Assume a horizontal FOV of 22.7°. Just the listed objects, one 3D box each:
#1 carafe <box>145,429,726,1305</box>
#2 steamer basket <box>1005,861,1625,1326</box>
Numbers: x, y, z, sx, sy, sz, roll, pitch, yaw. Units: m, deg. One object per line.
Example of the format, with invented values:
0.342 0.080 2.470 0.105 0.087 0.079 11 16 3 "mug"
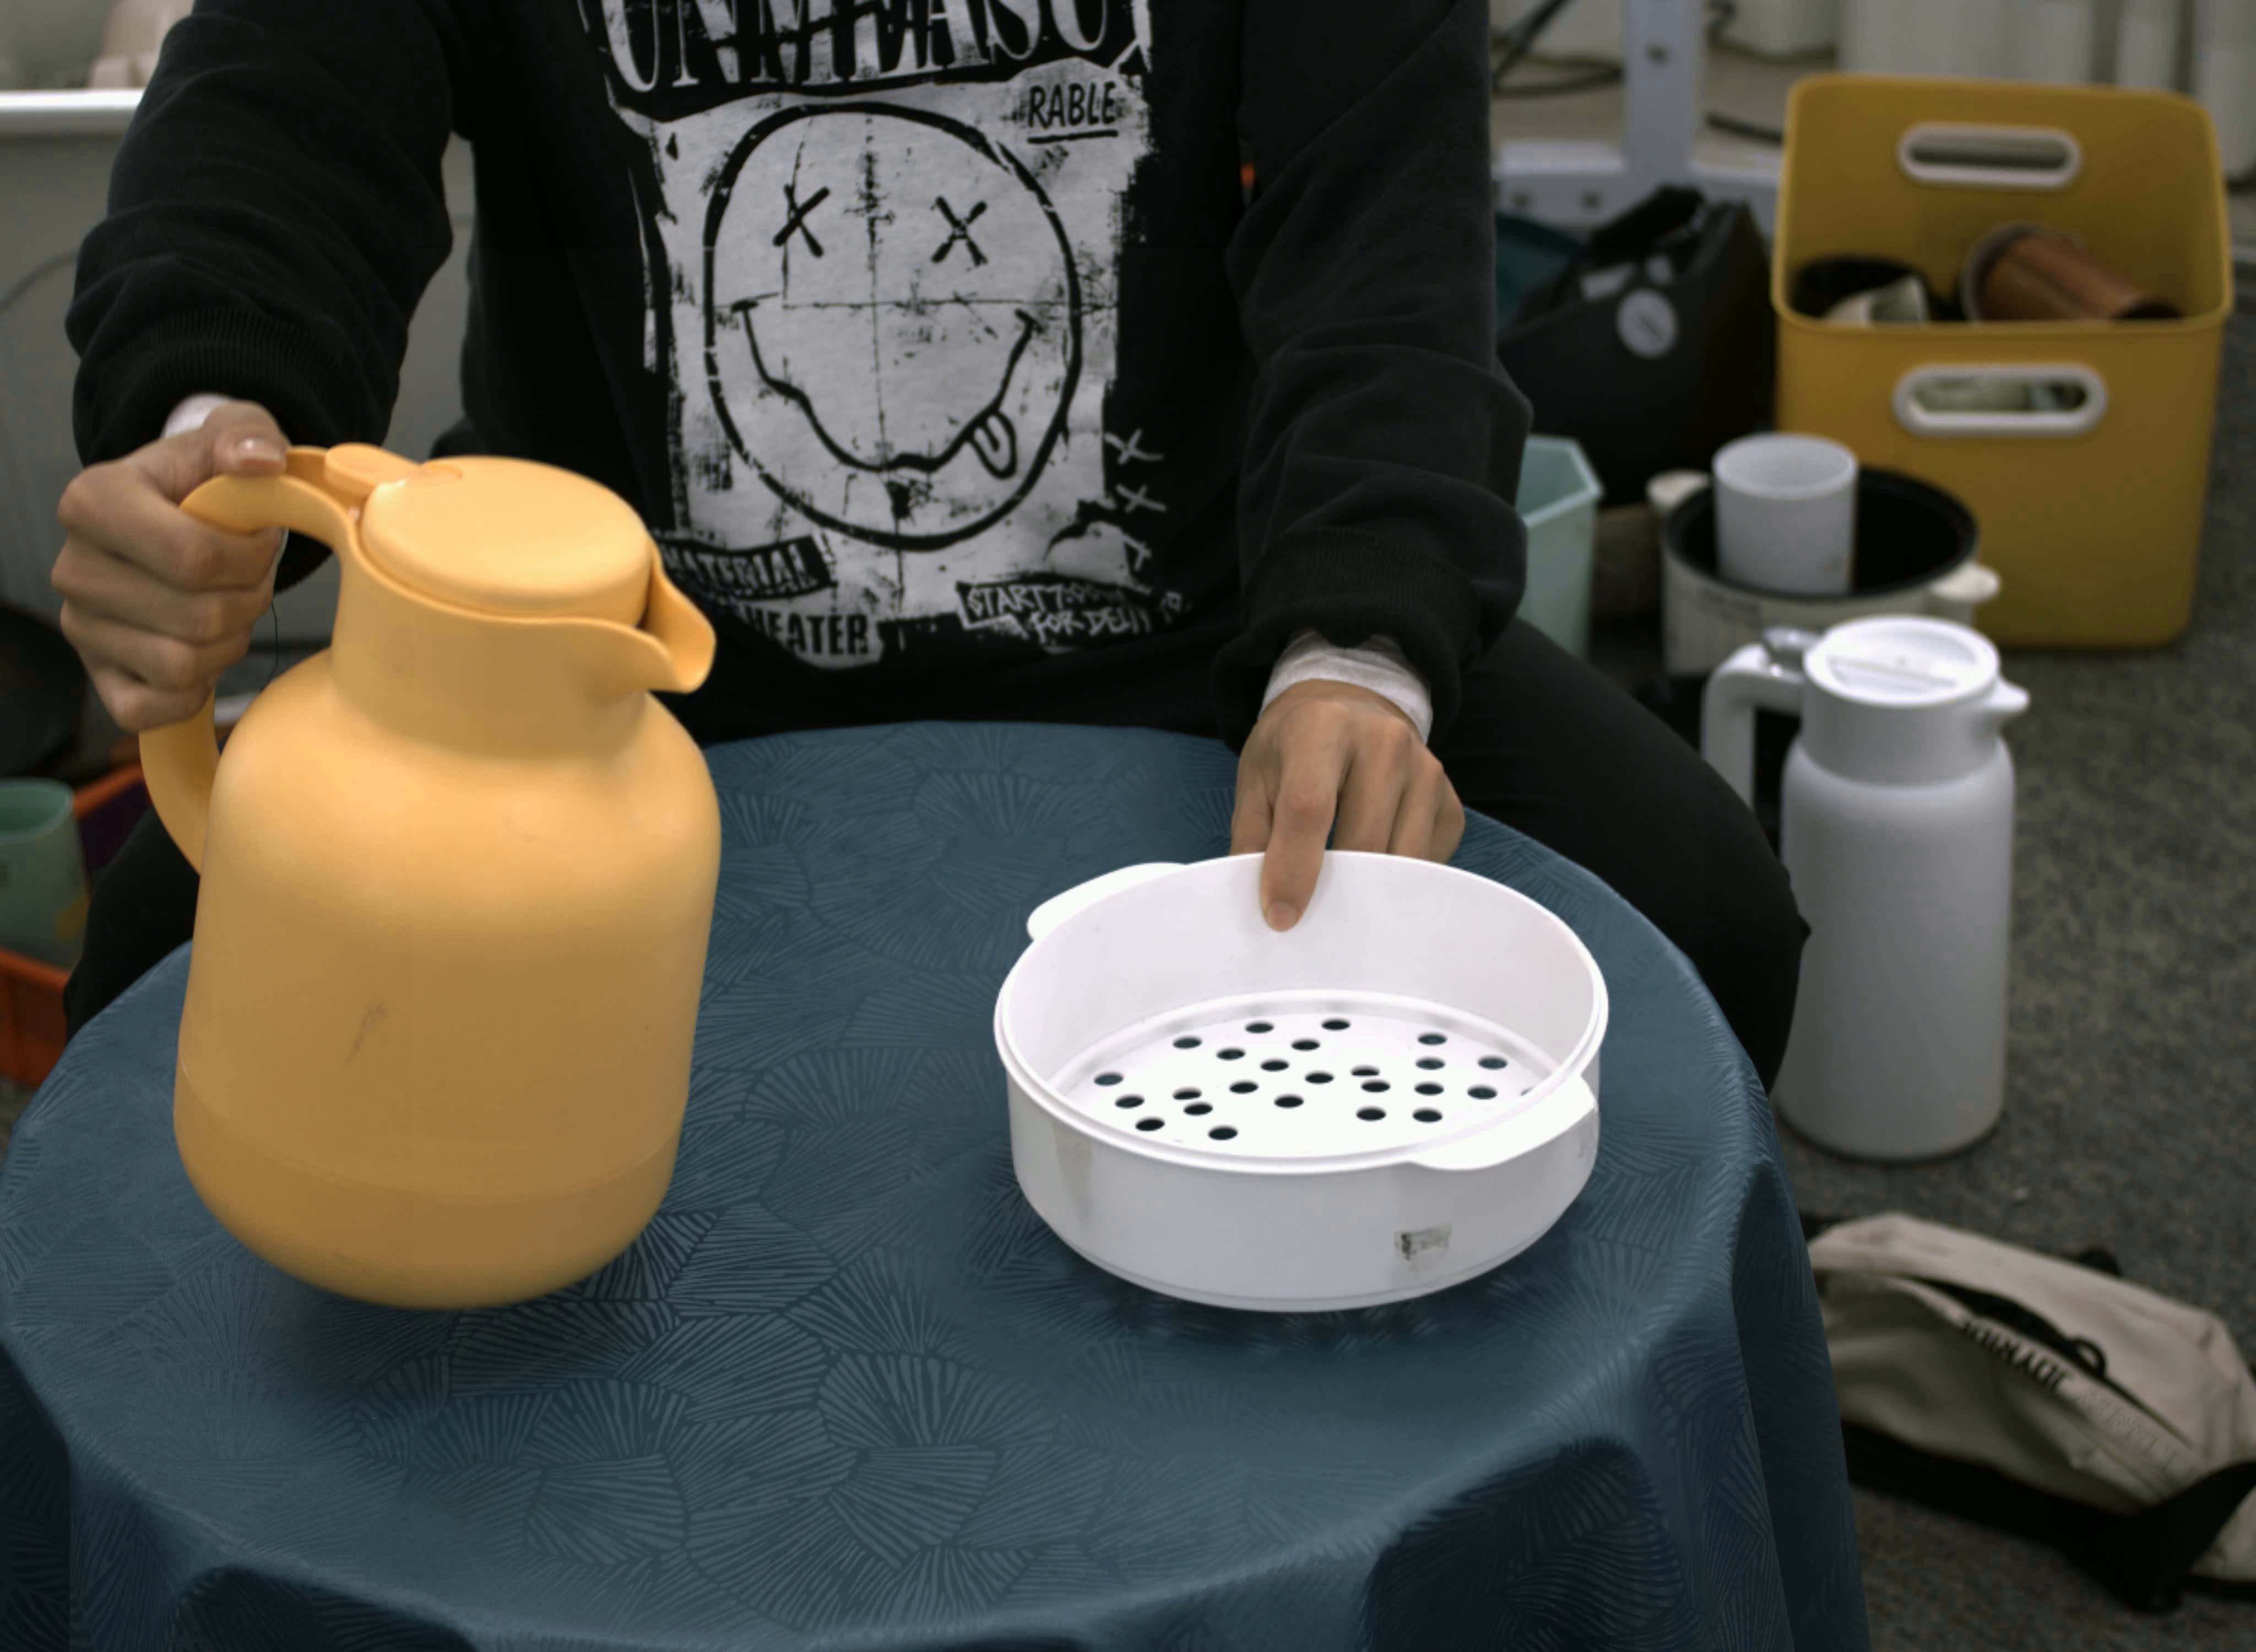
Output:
-0.224 0.003 1.772 0.202 0.257 0.165 25 27 23 "carafe"
0.061 0.088 1.831 0.204 0.068 0.231 -24 35 -33 "steamer basket"
